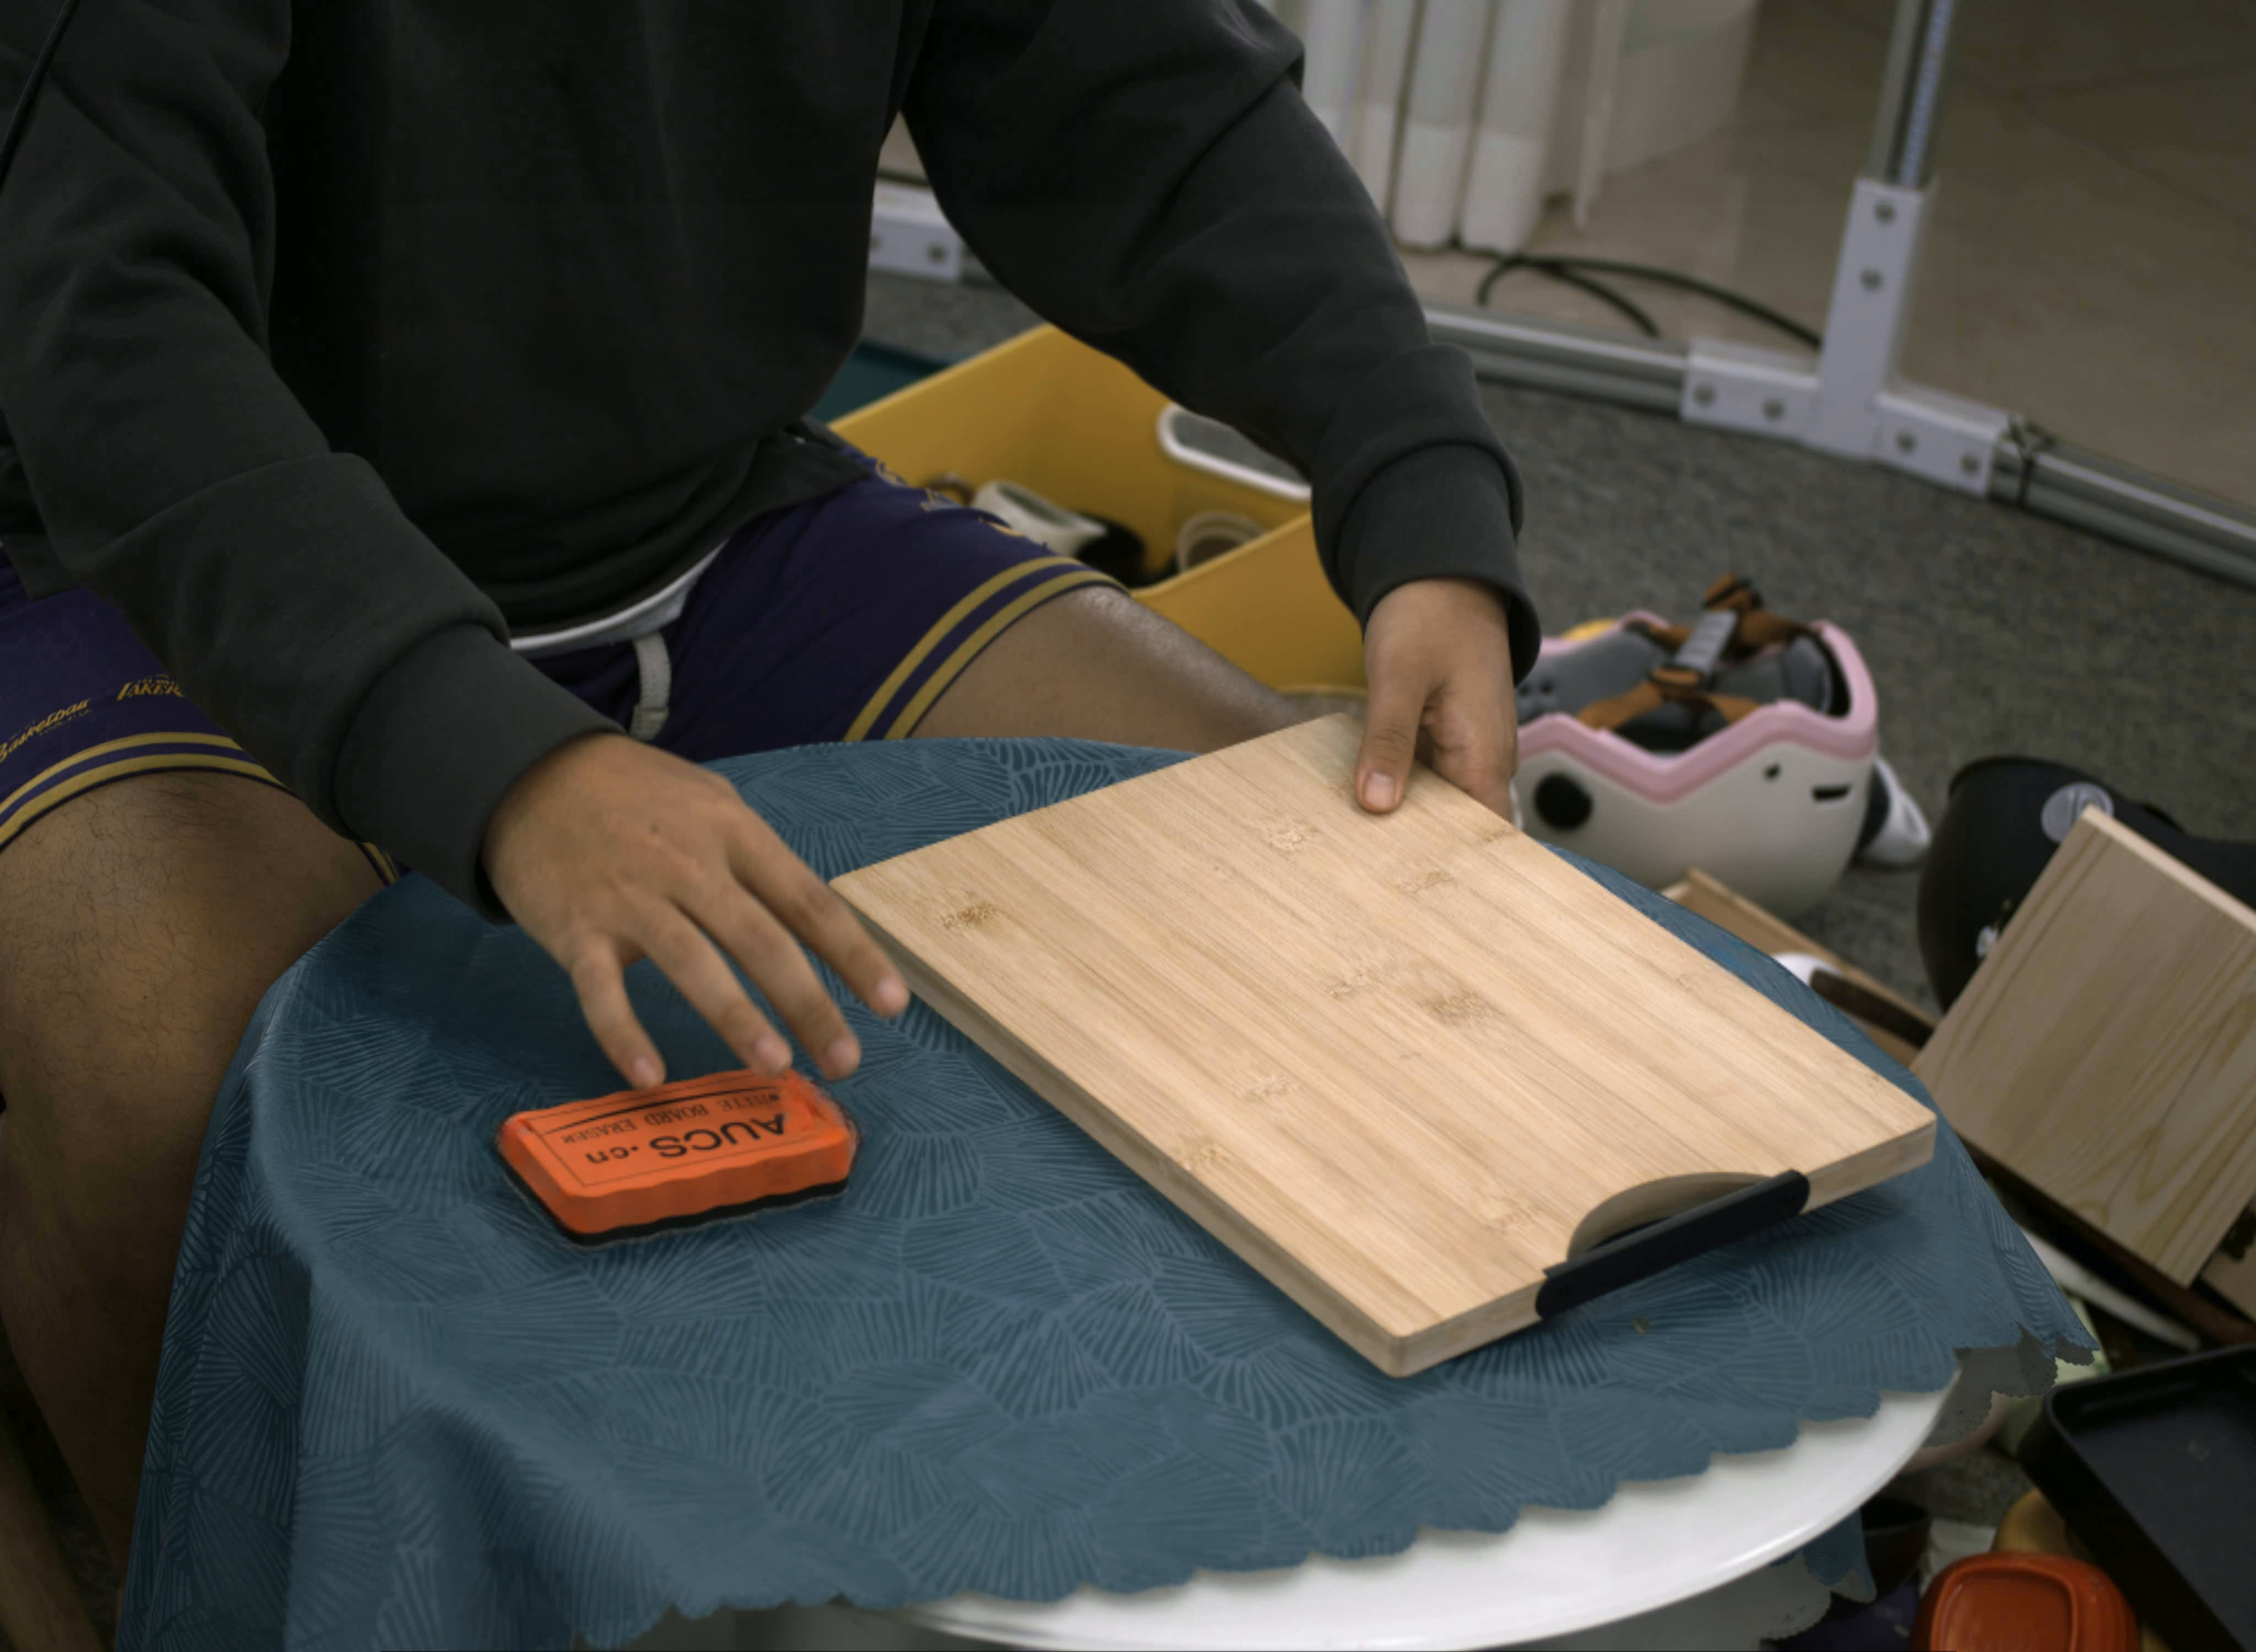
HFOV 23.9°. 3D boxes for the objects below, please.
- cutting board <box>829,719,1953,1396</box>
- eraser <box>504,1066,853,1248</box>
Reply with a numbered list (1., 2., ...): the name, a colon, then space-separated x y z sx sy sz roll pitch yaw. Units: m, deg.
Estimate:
1. cutting board: 0.087 0.070 1.883 0.249 0.023 0.352 -19 36 -31
2. eraser: -0.149 0.109 1.769 0.107 0.023 0.059 -9 31 -29
